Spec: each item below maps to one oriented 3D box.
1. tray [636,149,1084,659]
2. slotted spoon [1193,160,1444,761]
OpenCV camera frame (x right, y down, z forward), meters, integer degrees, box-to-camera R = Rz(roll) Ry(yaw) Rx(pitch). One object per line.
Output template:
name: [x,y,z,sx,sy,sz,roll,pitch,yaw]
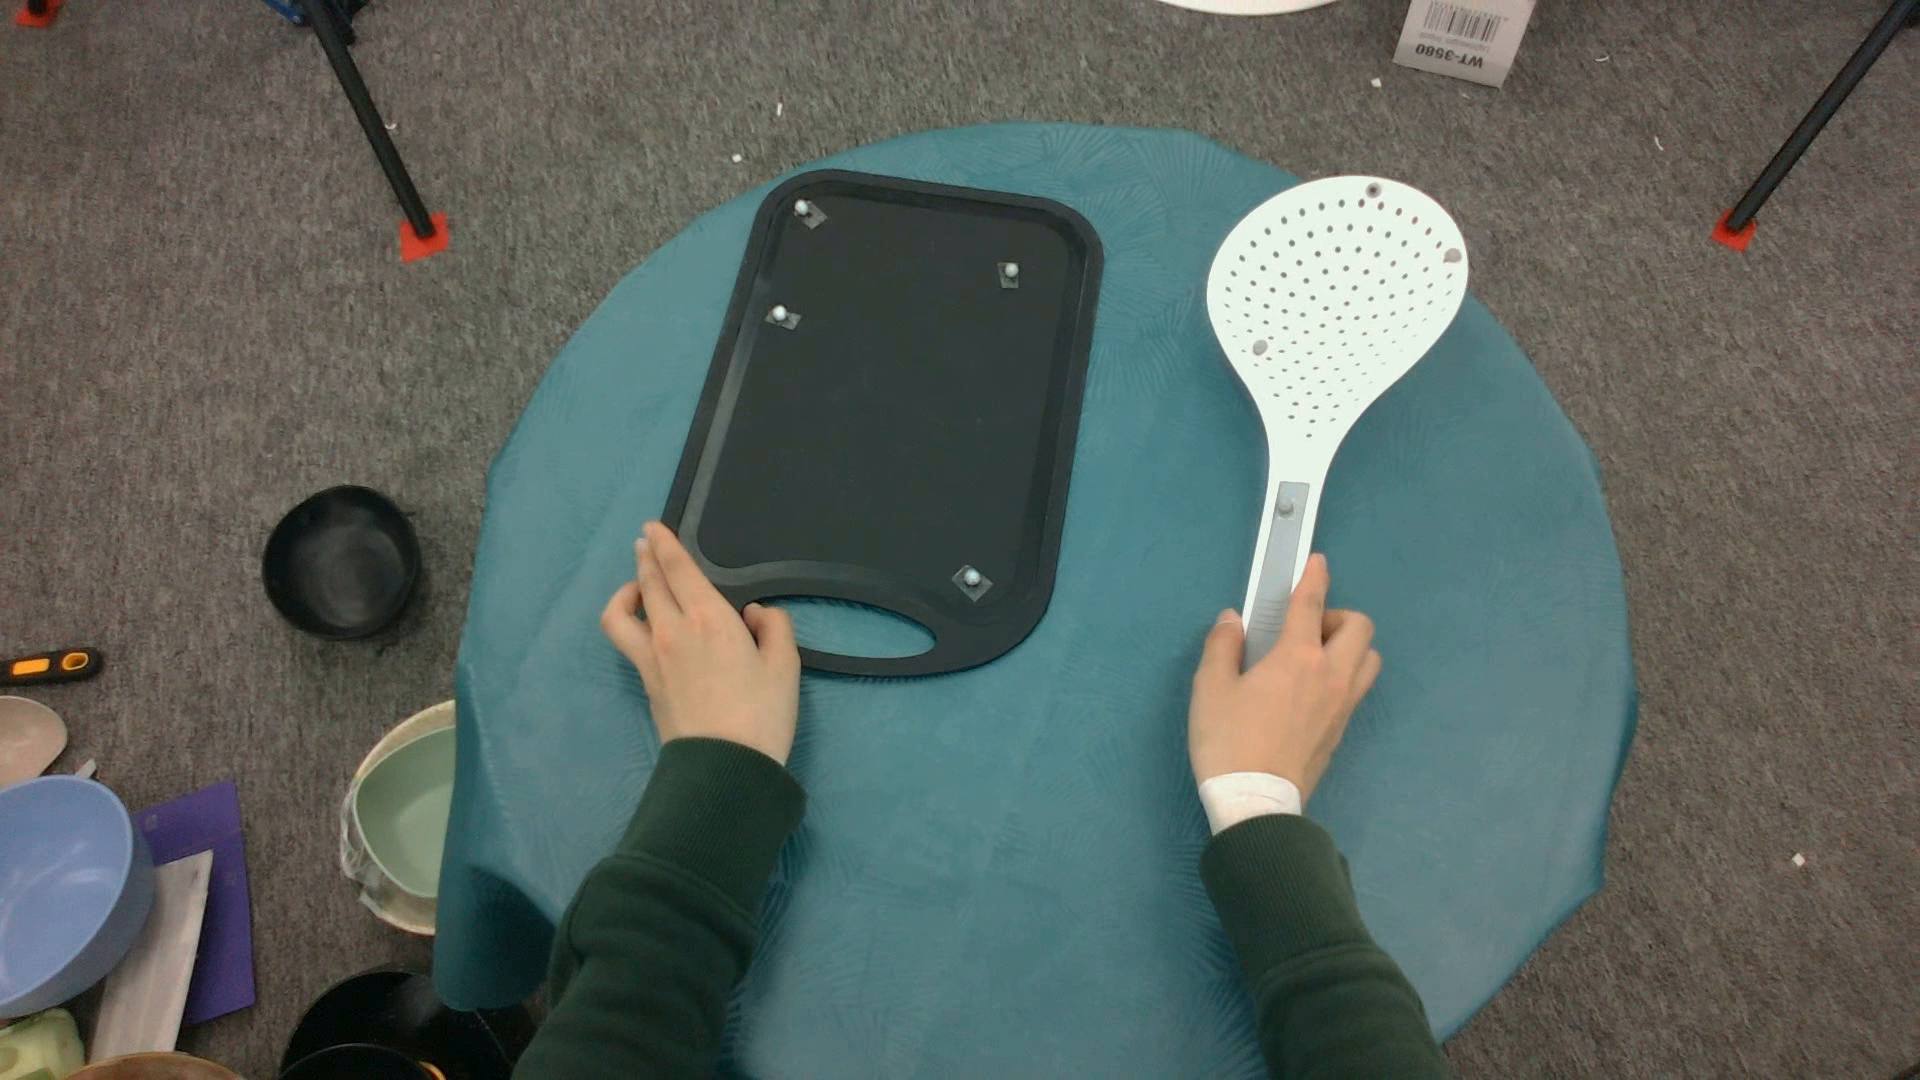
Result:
tray: [-0.049,-0.086,0.759,0.211,0.010,0.327,9,63,3]
slotted spoon: [0.170,-0.053,0.723,0.136,0.045,0.351,6,62,23]
